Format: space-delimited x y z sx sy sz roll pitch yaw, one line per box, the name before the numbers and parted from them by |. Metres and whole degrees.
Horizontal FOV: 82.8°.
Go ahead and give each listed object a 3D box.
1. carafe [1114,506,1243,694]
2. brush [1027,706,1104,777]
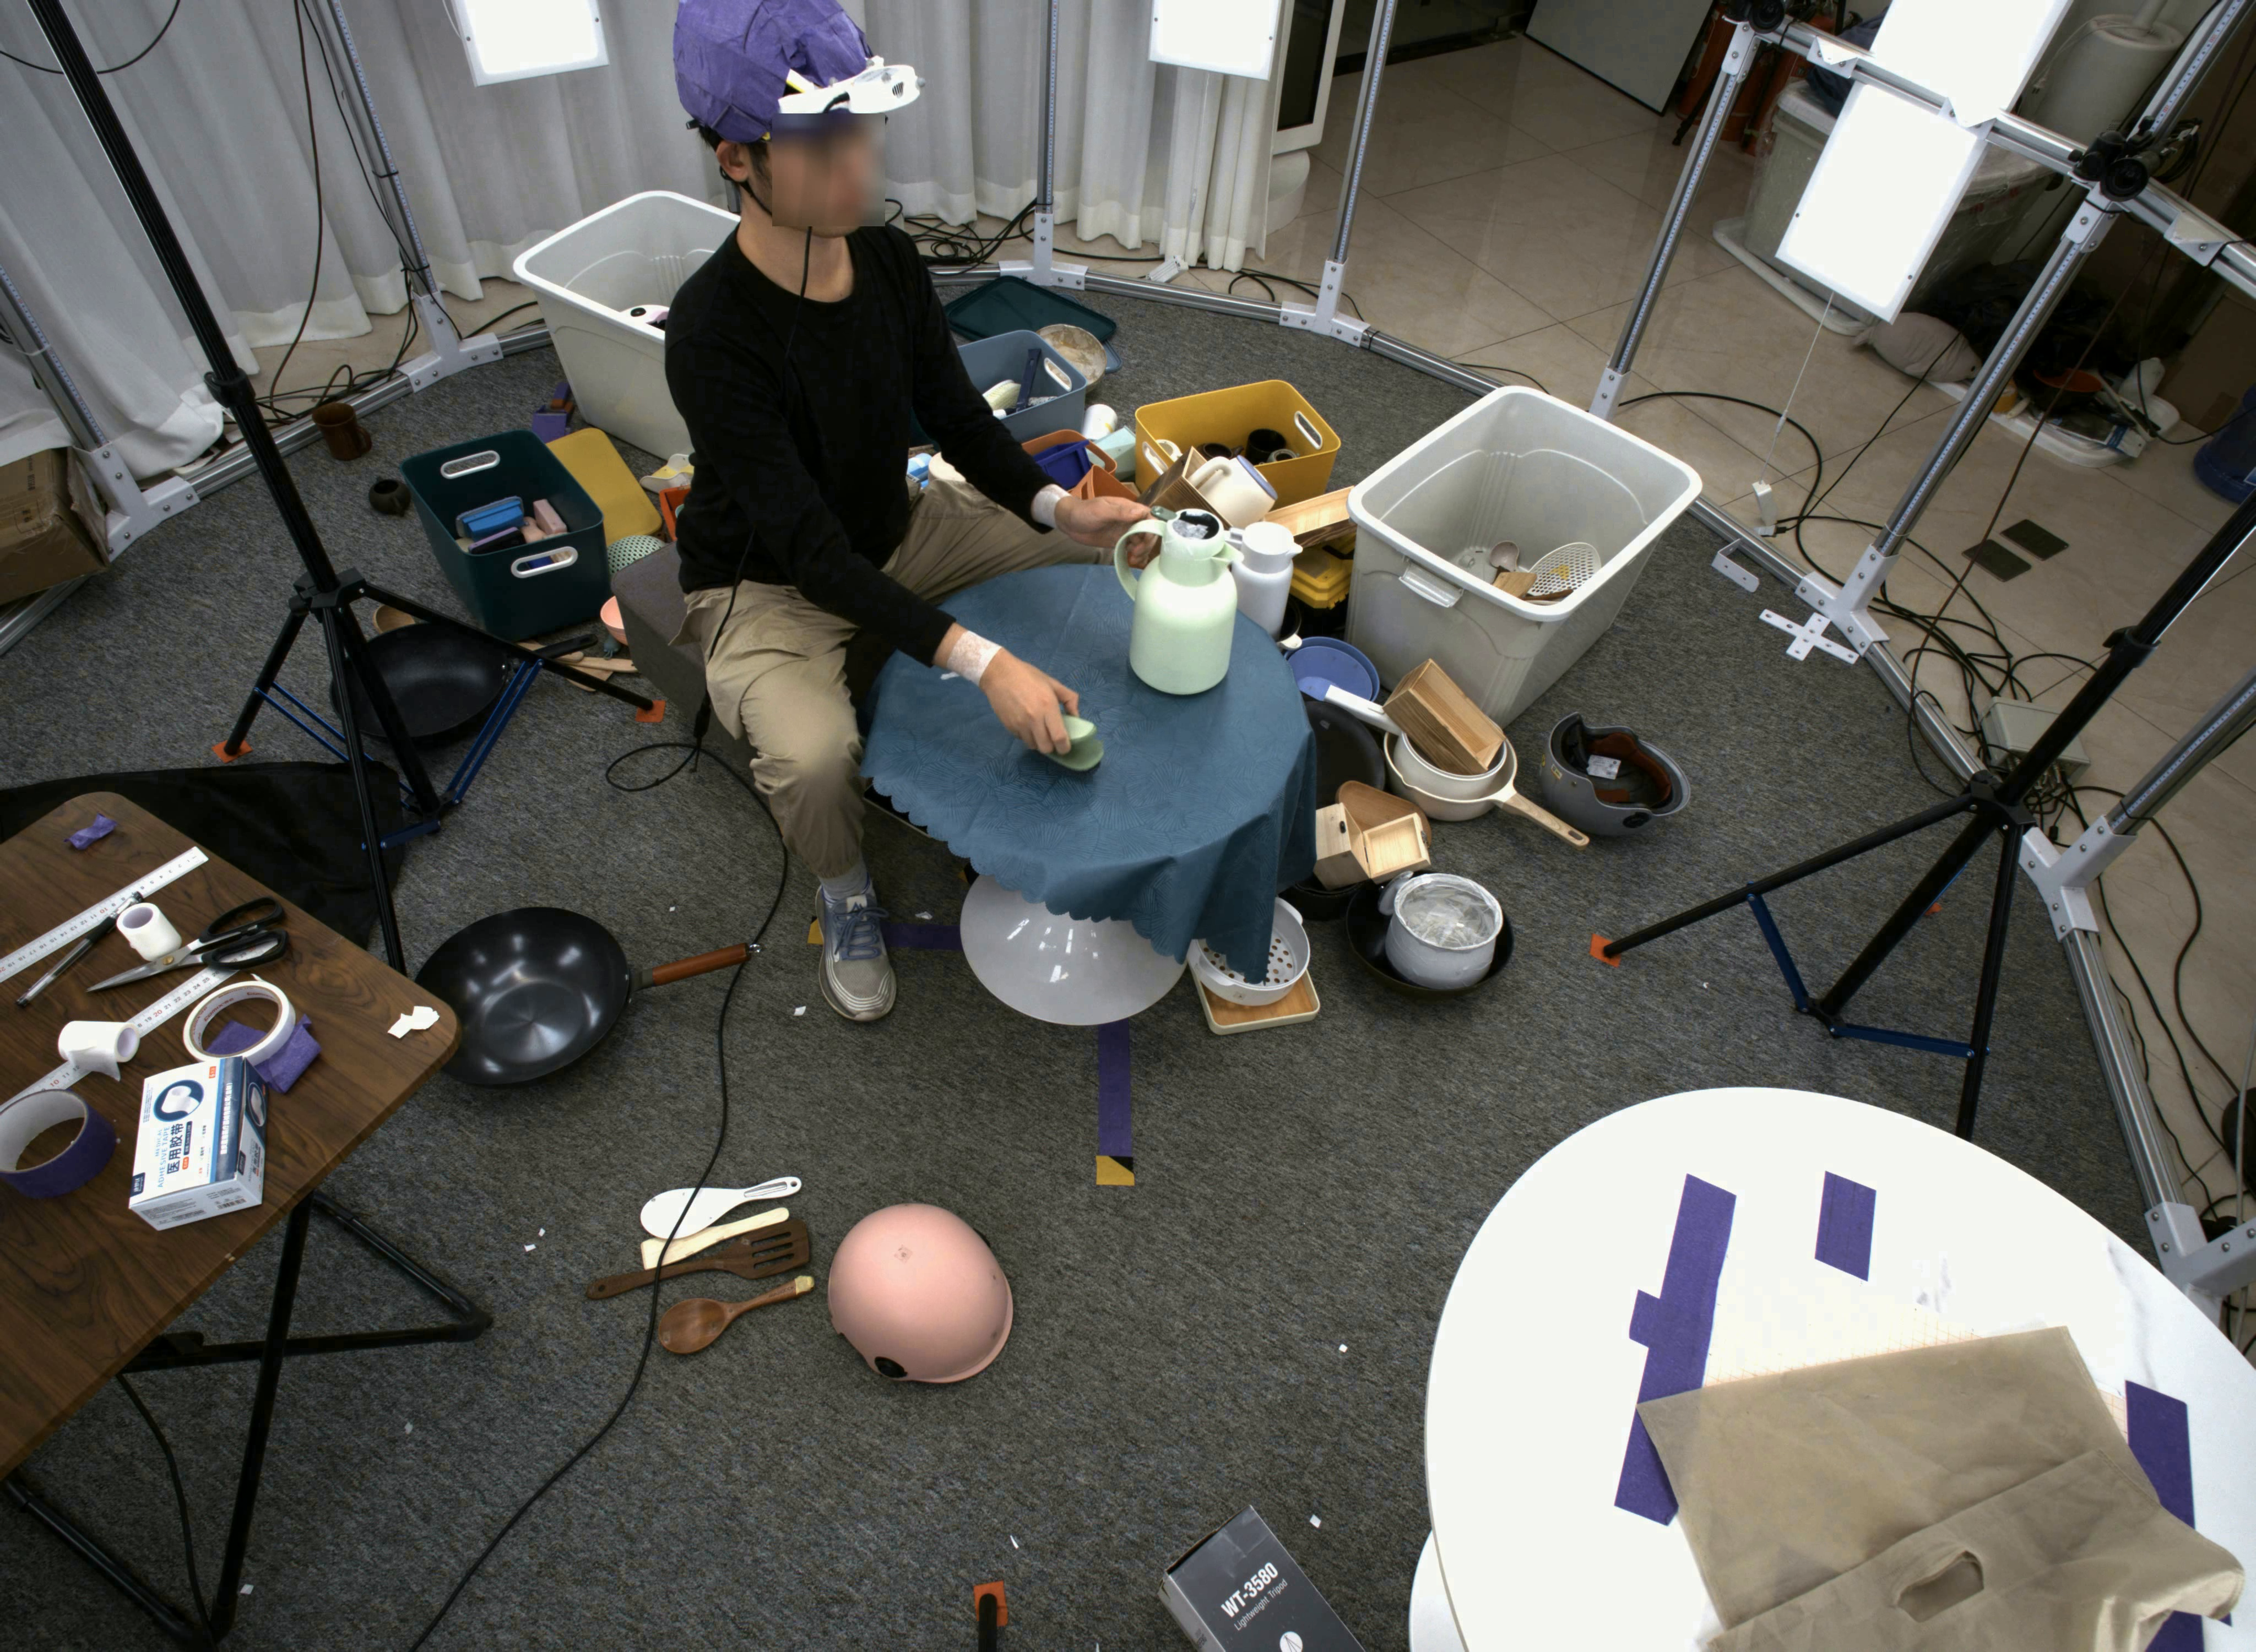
carafe | 0.067 -0.322 1.788 0.188 0.250 0.146 24 51 19
brush | -0.083 -0.115 1.709 0.060 0.074 0.124 -39 41 -26
